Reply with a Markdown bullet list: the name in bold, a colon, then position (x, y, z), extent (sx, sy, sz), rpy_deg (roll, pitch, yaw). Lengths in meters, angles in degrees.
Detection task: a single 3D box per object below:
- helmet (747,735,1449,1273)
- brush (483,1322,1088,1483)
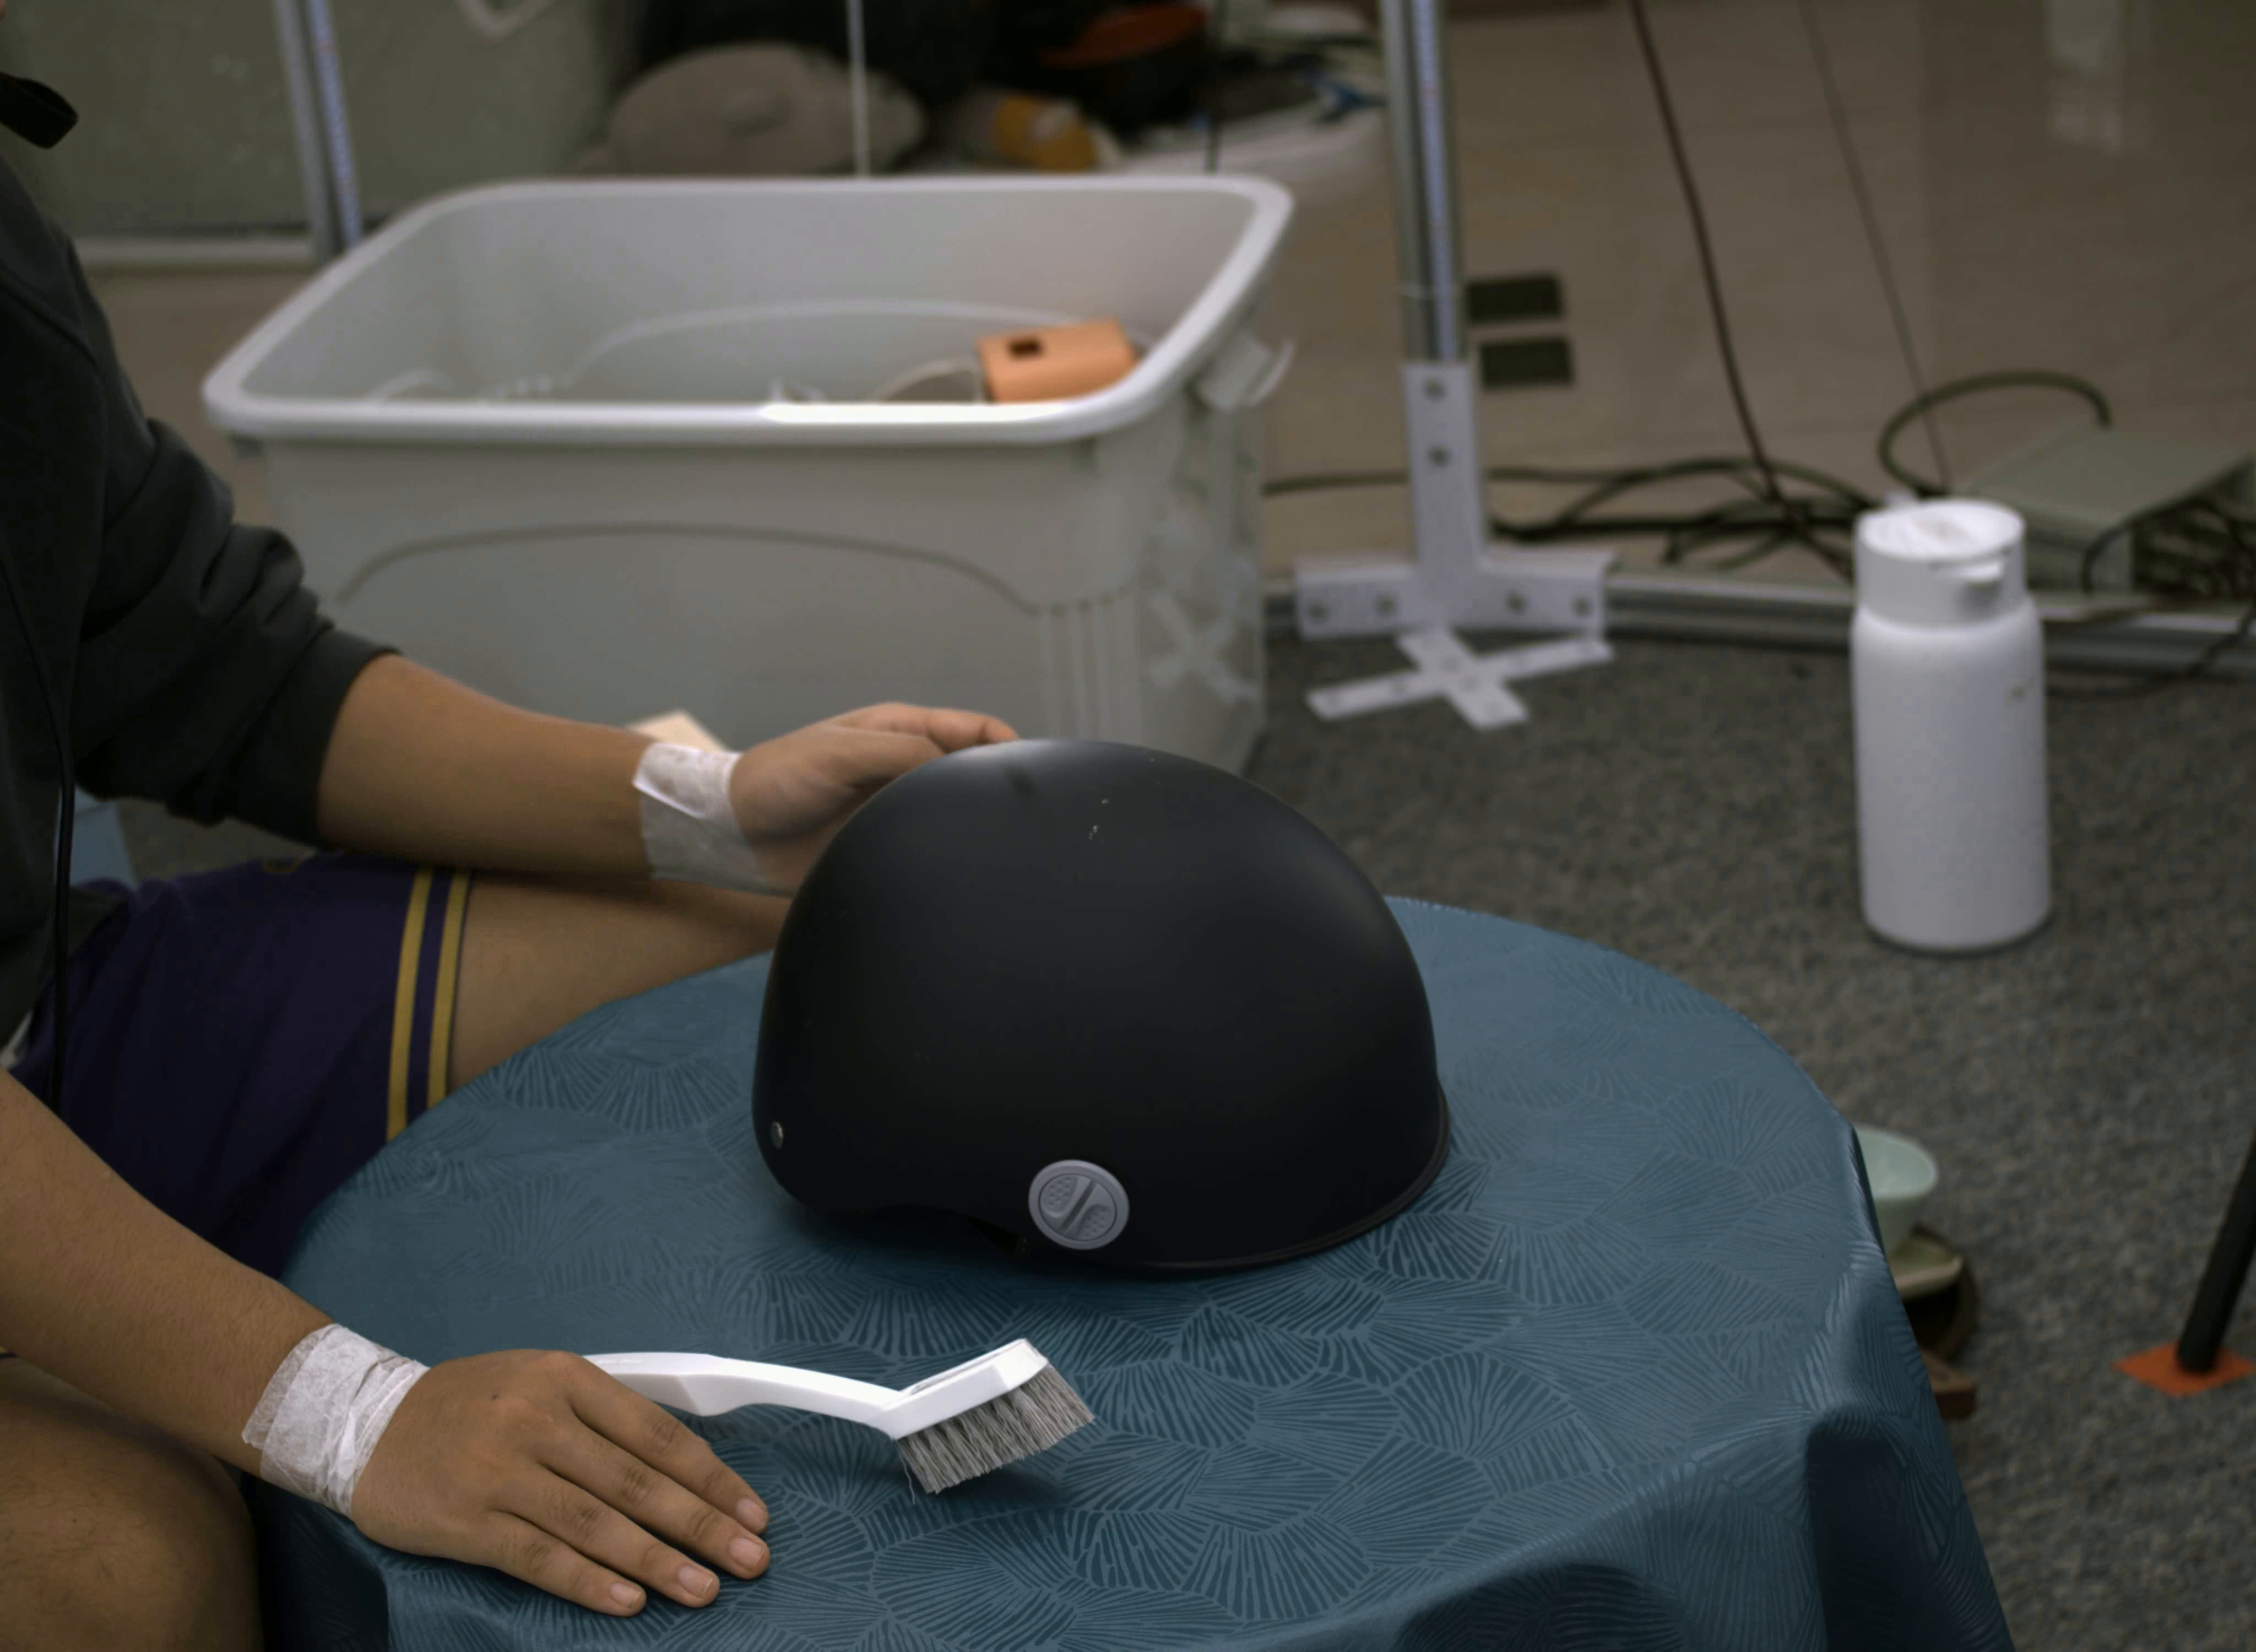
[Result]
- **helmet**: position (-0.016, 0.054, 2.144), extent (0.272, 0.169, 0.227), rpy_deg (8, 32, 25)
- **brush**: position (-0.124, 0.208, 1.999), extent (0.243, 0.050, 0.034), rpy_deg (-7, 13, 31)
